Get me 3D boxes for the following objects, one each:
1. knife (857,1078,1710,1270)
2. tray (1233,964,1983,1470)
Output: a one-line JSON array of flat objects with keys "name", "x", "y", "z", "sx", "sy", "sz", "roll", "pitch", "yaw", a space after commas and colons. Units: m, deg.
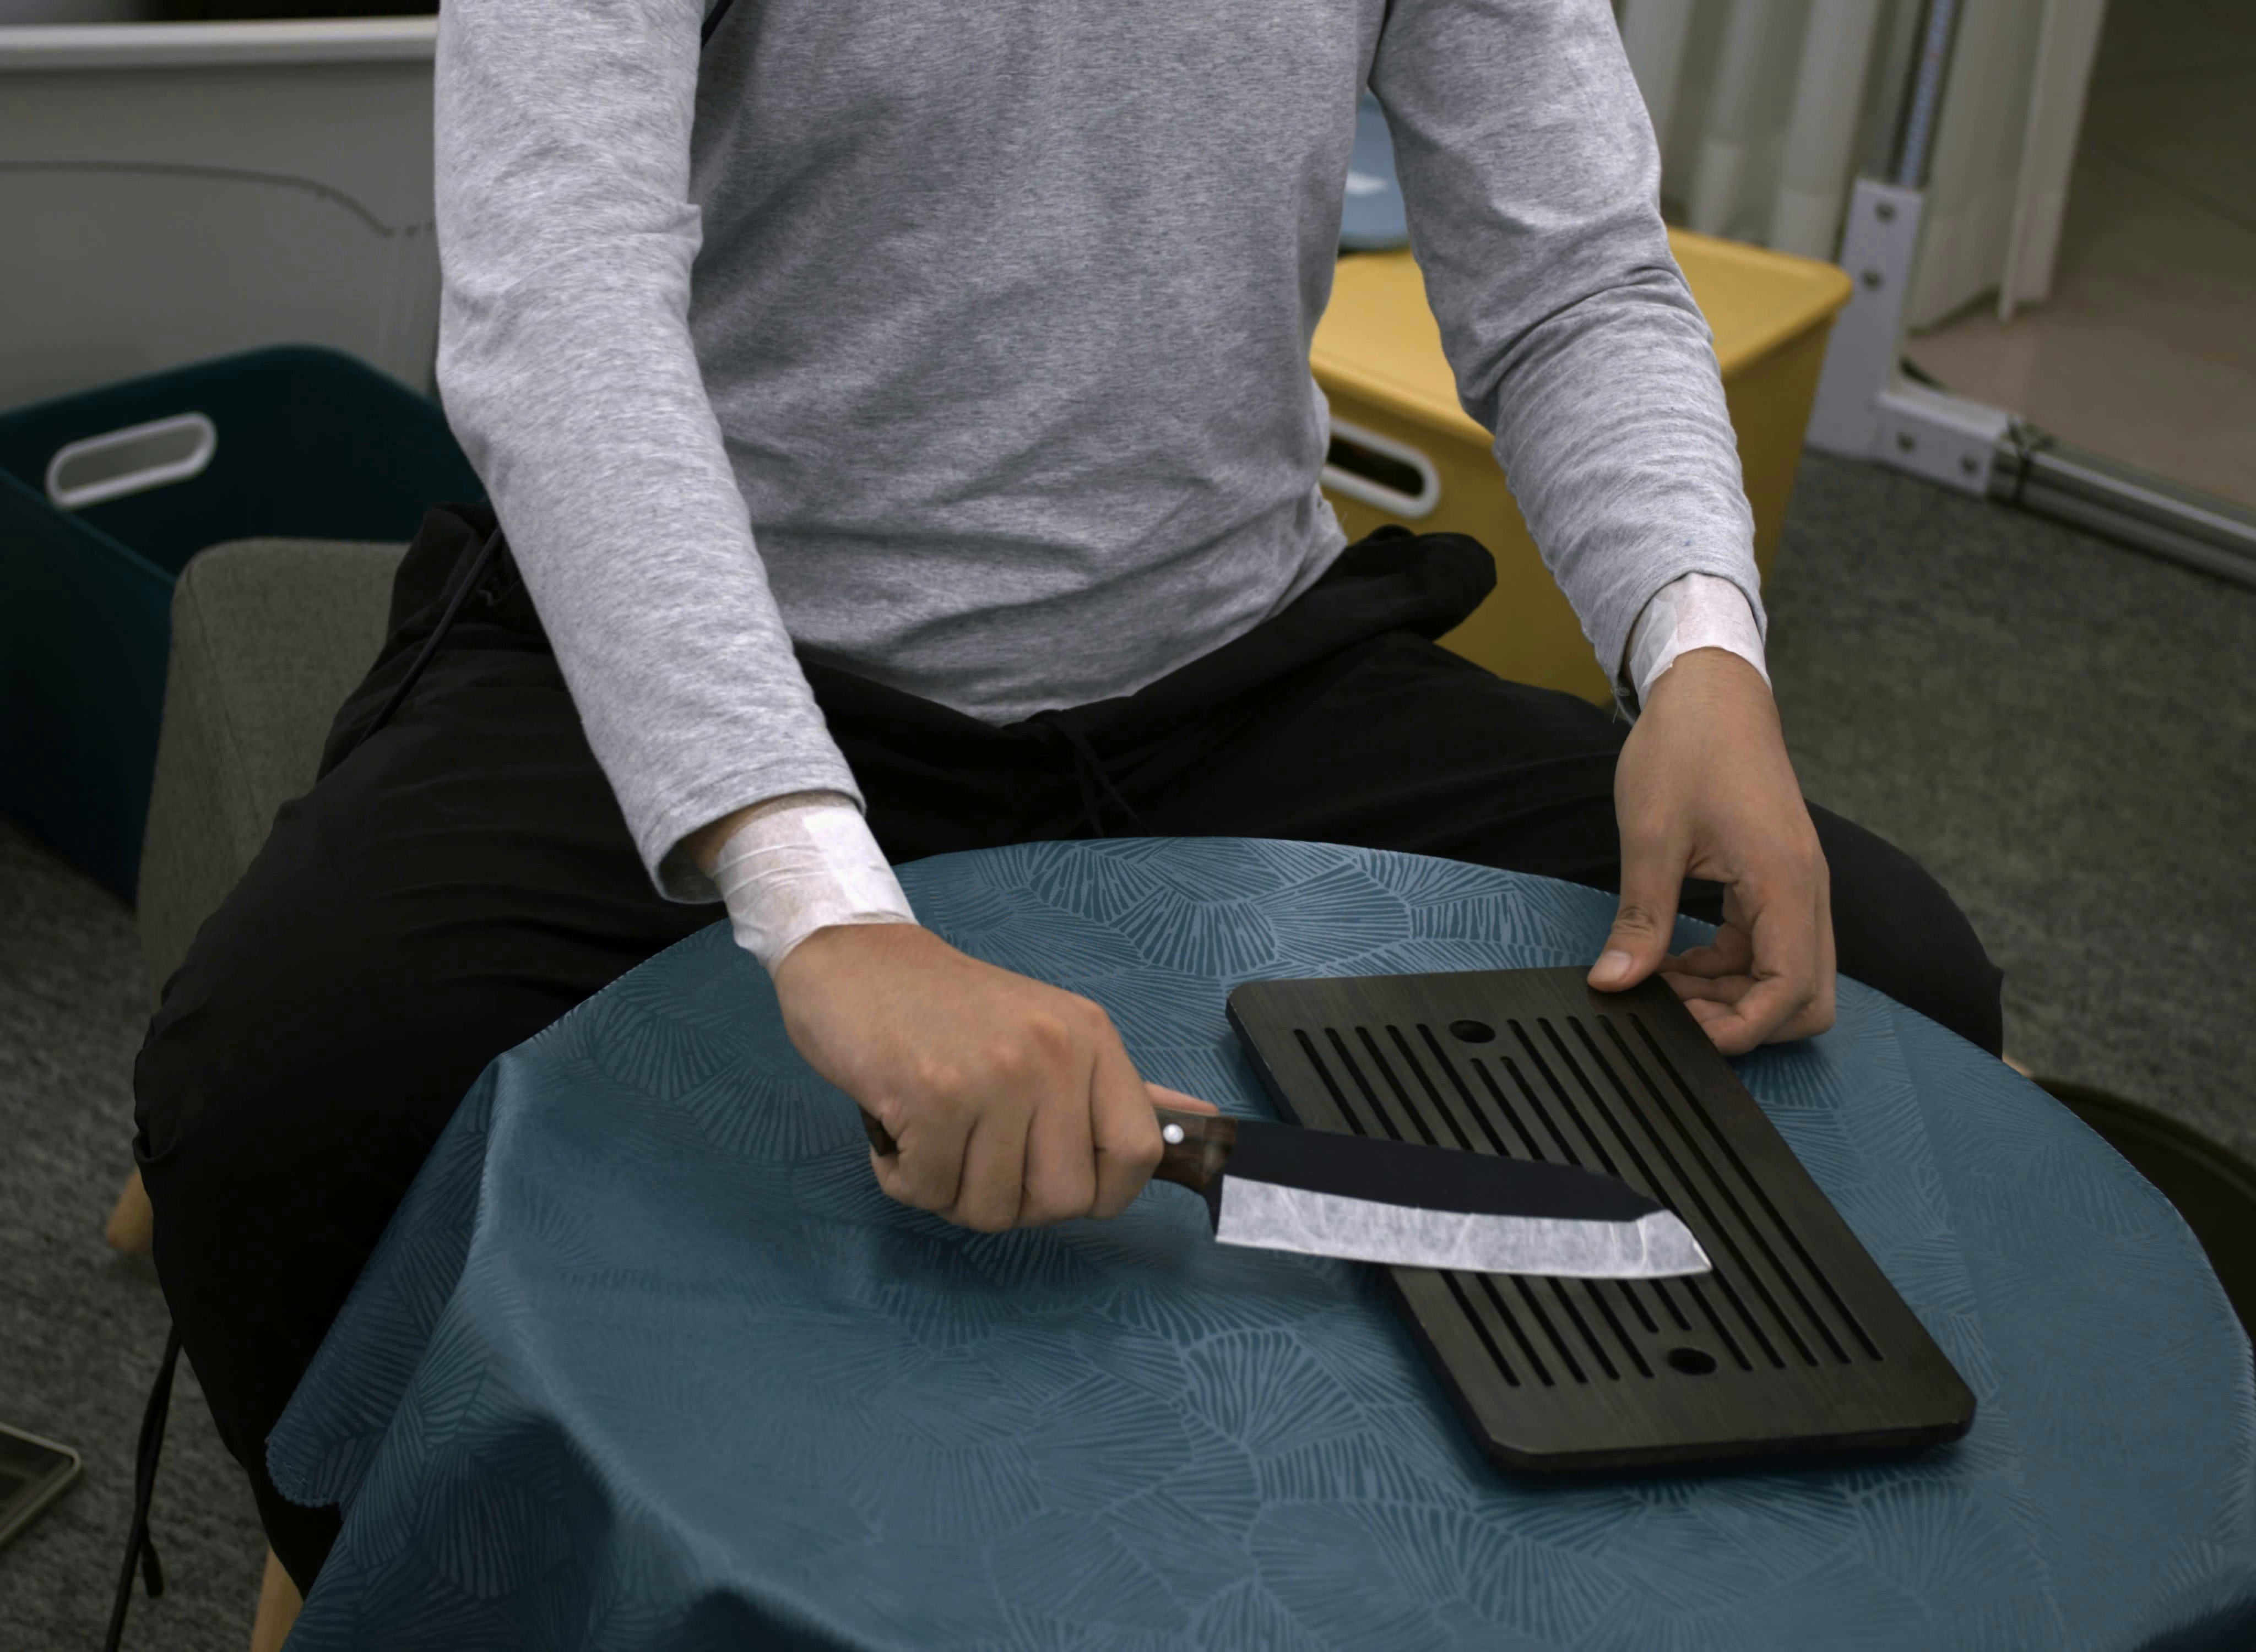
[{"name": "knife", "x": 0.052, "y": 0.116, "z": 1.758, "sx": 0.288, "sy": 0.020, "sz": 0.050, "roll": 9, "pitch": 66, "yaw": -4}, {"name": "tray", "x": 0.156, "y": 0.130, "z": 1.810, "sx": 0.169, "sy": 0.018, "sz": 0.308, "roll": -2, "pitch": 28, "yaw": -16}]
